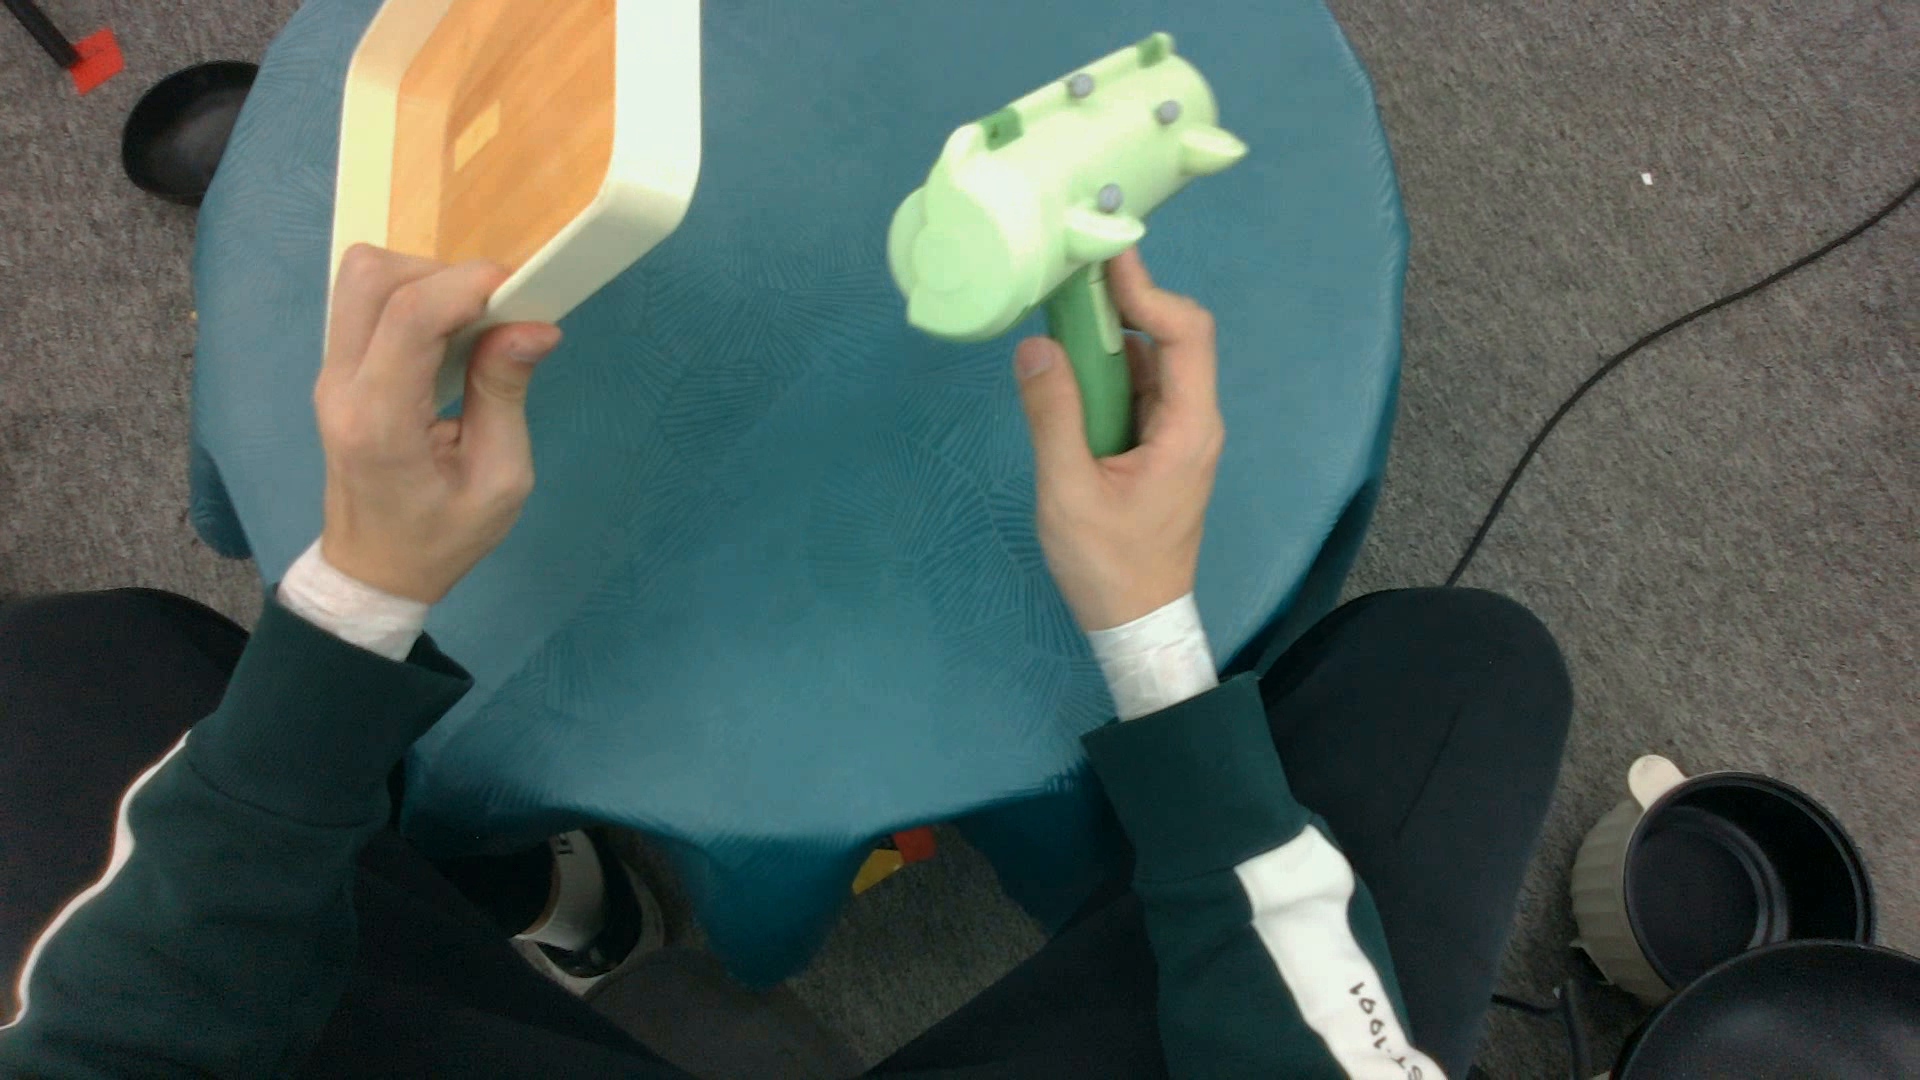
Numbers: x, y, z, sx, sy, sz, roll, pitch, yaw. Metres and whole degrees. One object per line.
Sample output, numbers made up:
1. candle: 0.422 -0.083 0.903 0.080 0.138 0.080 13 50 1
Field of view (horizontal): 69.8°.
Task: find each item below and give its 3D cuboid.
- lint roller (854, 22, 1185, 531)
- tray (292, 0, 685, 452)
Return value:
1. lint roller: 0.045 -0.088 0.521 0.082 0.199 0.183 -8 115 27
2. tray: -0.187 -0.156 0.505 0.027 0.299 0.192 6 75 -40
